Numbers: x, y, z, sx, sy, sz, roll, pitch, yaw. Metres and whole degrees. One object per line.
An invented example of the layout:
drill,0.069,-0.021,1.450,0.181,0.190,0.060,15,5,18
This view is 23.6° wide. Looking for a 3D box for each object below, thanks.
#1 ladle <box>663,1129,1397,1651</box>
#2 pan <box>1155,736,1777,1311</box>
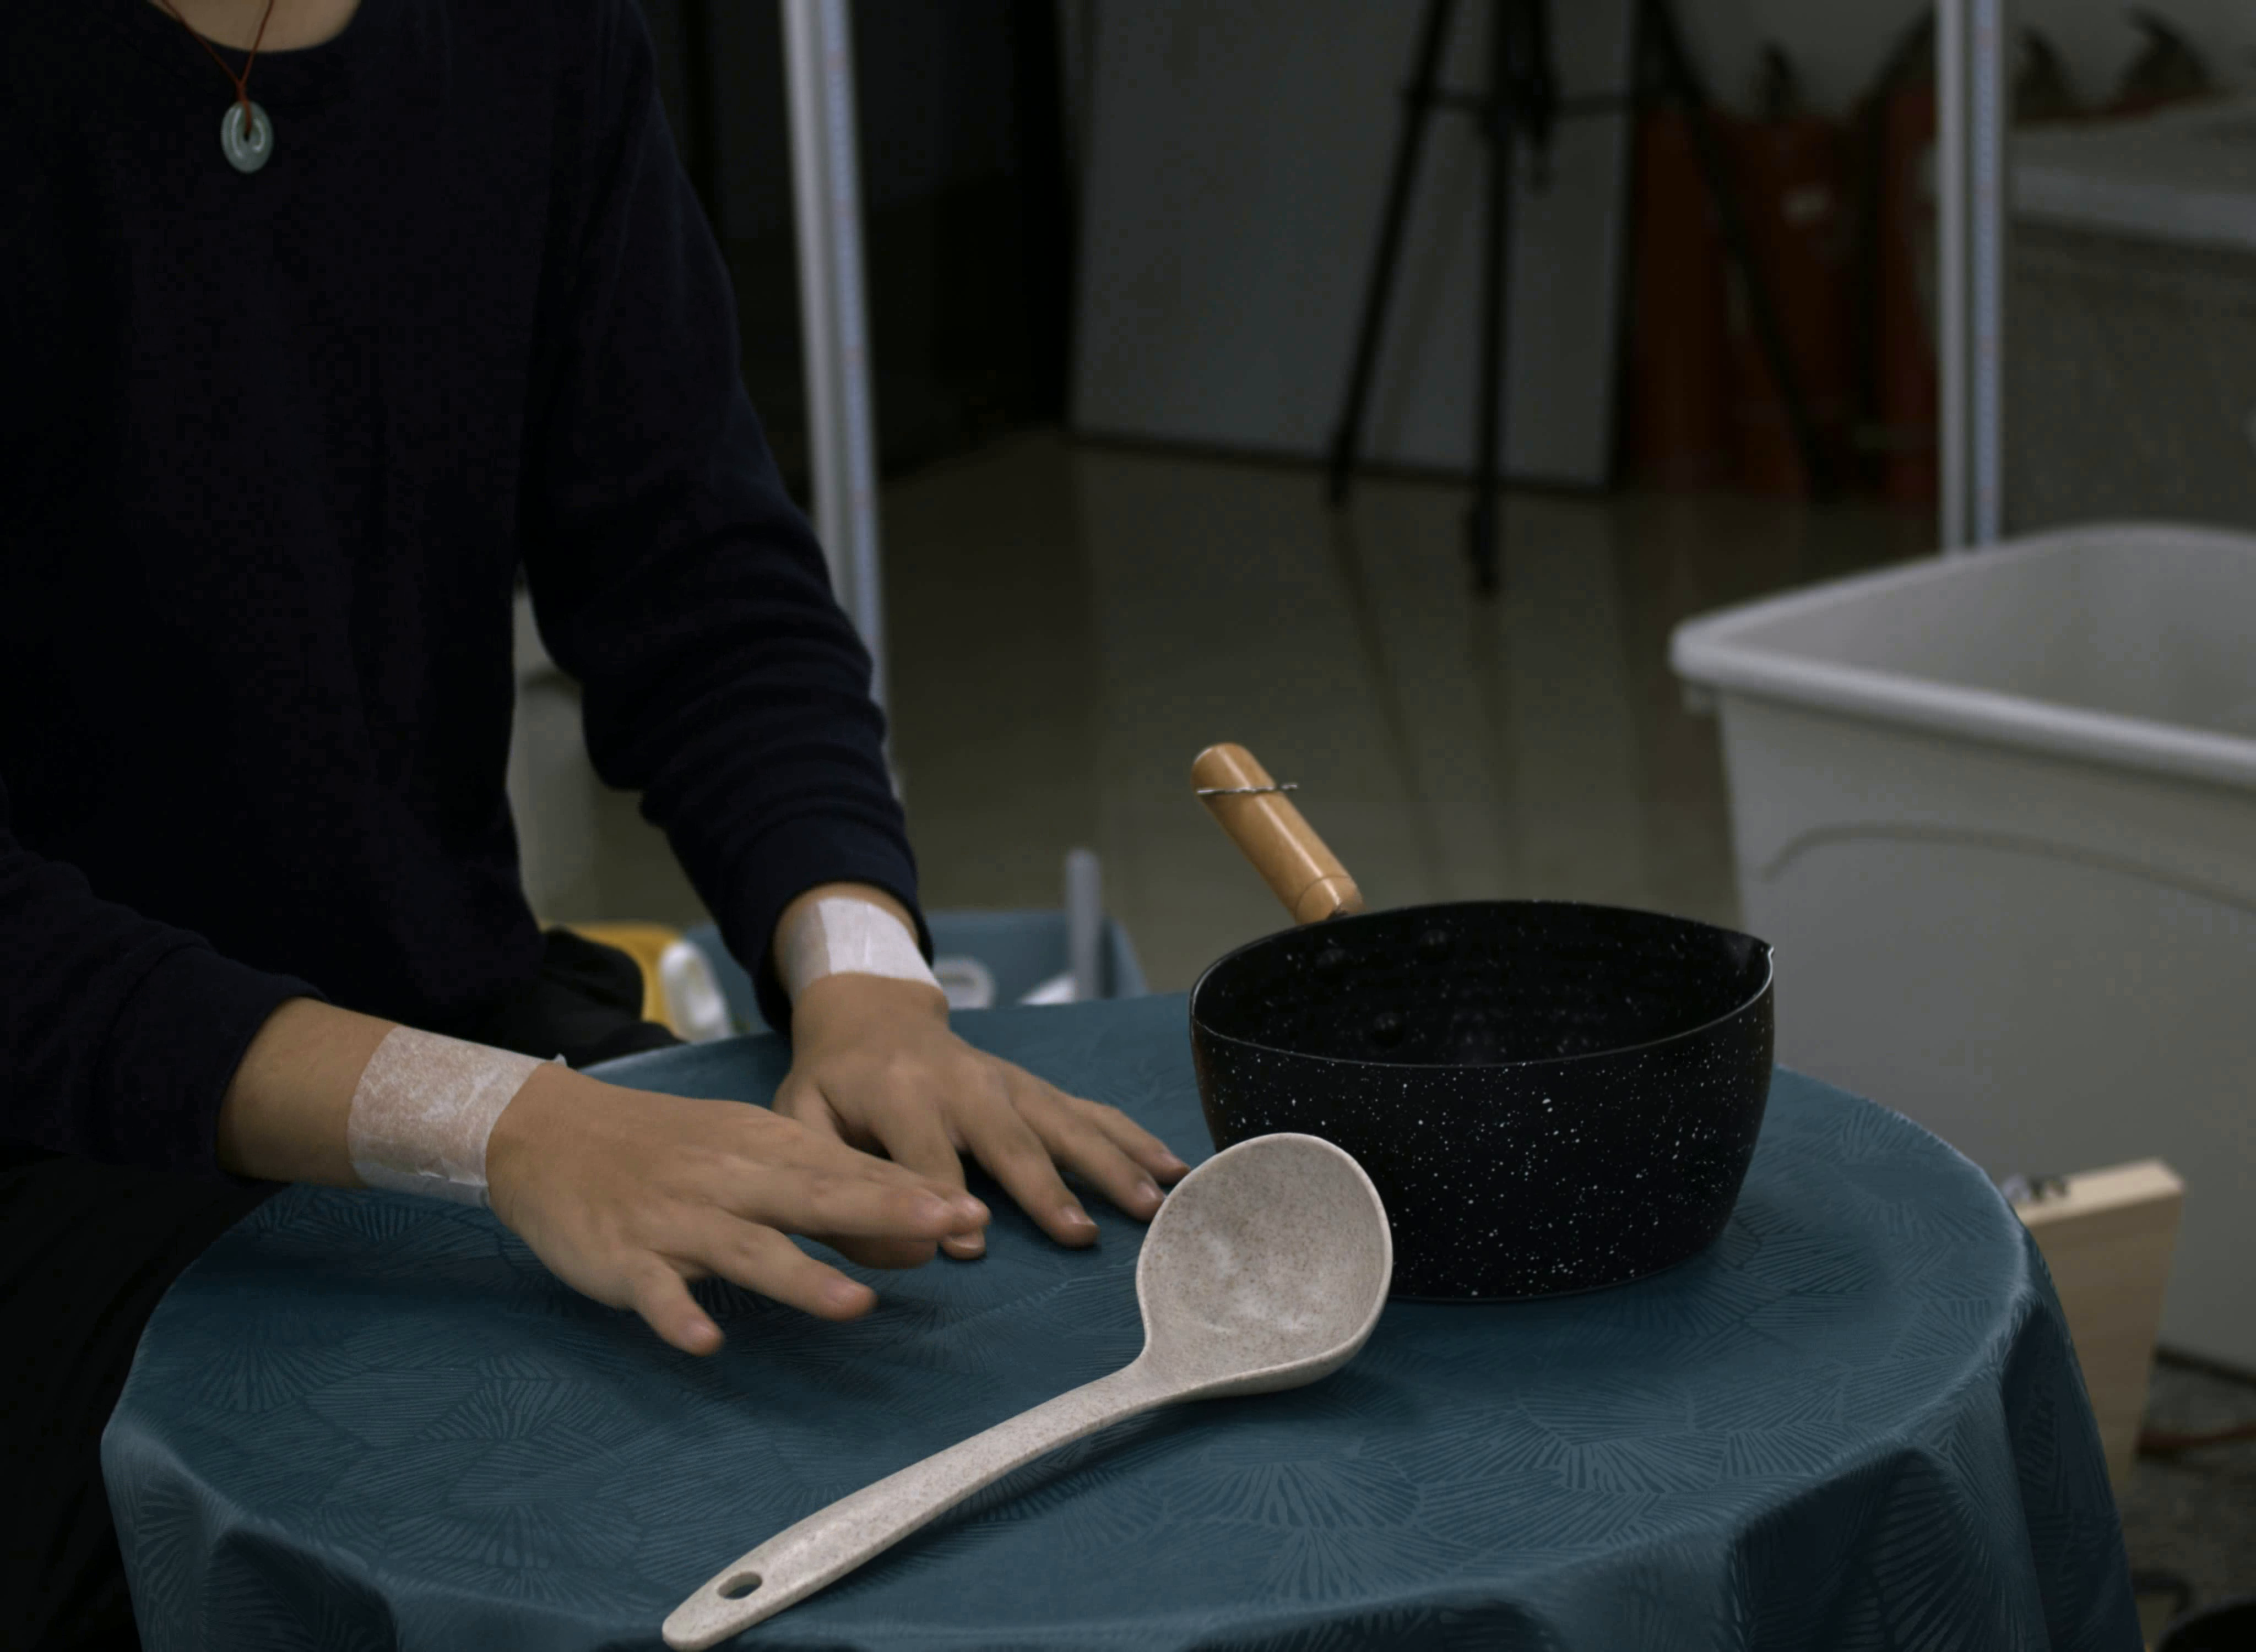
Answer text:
ladle,-0.029,0.155,1.505,0.090,0.070,0.269,22,28,36
pan,0.086,0.059,1.769,0.203,0.109,0.346,-10,16,-17
